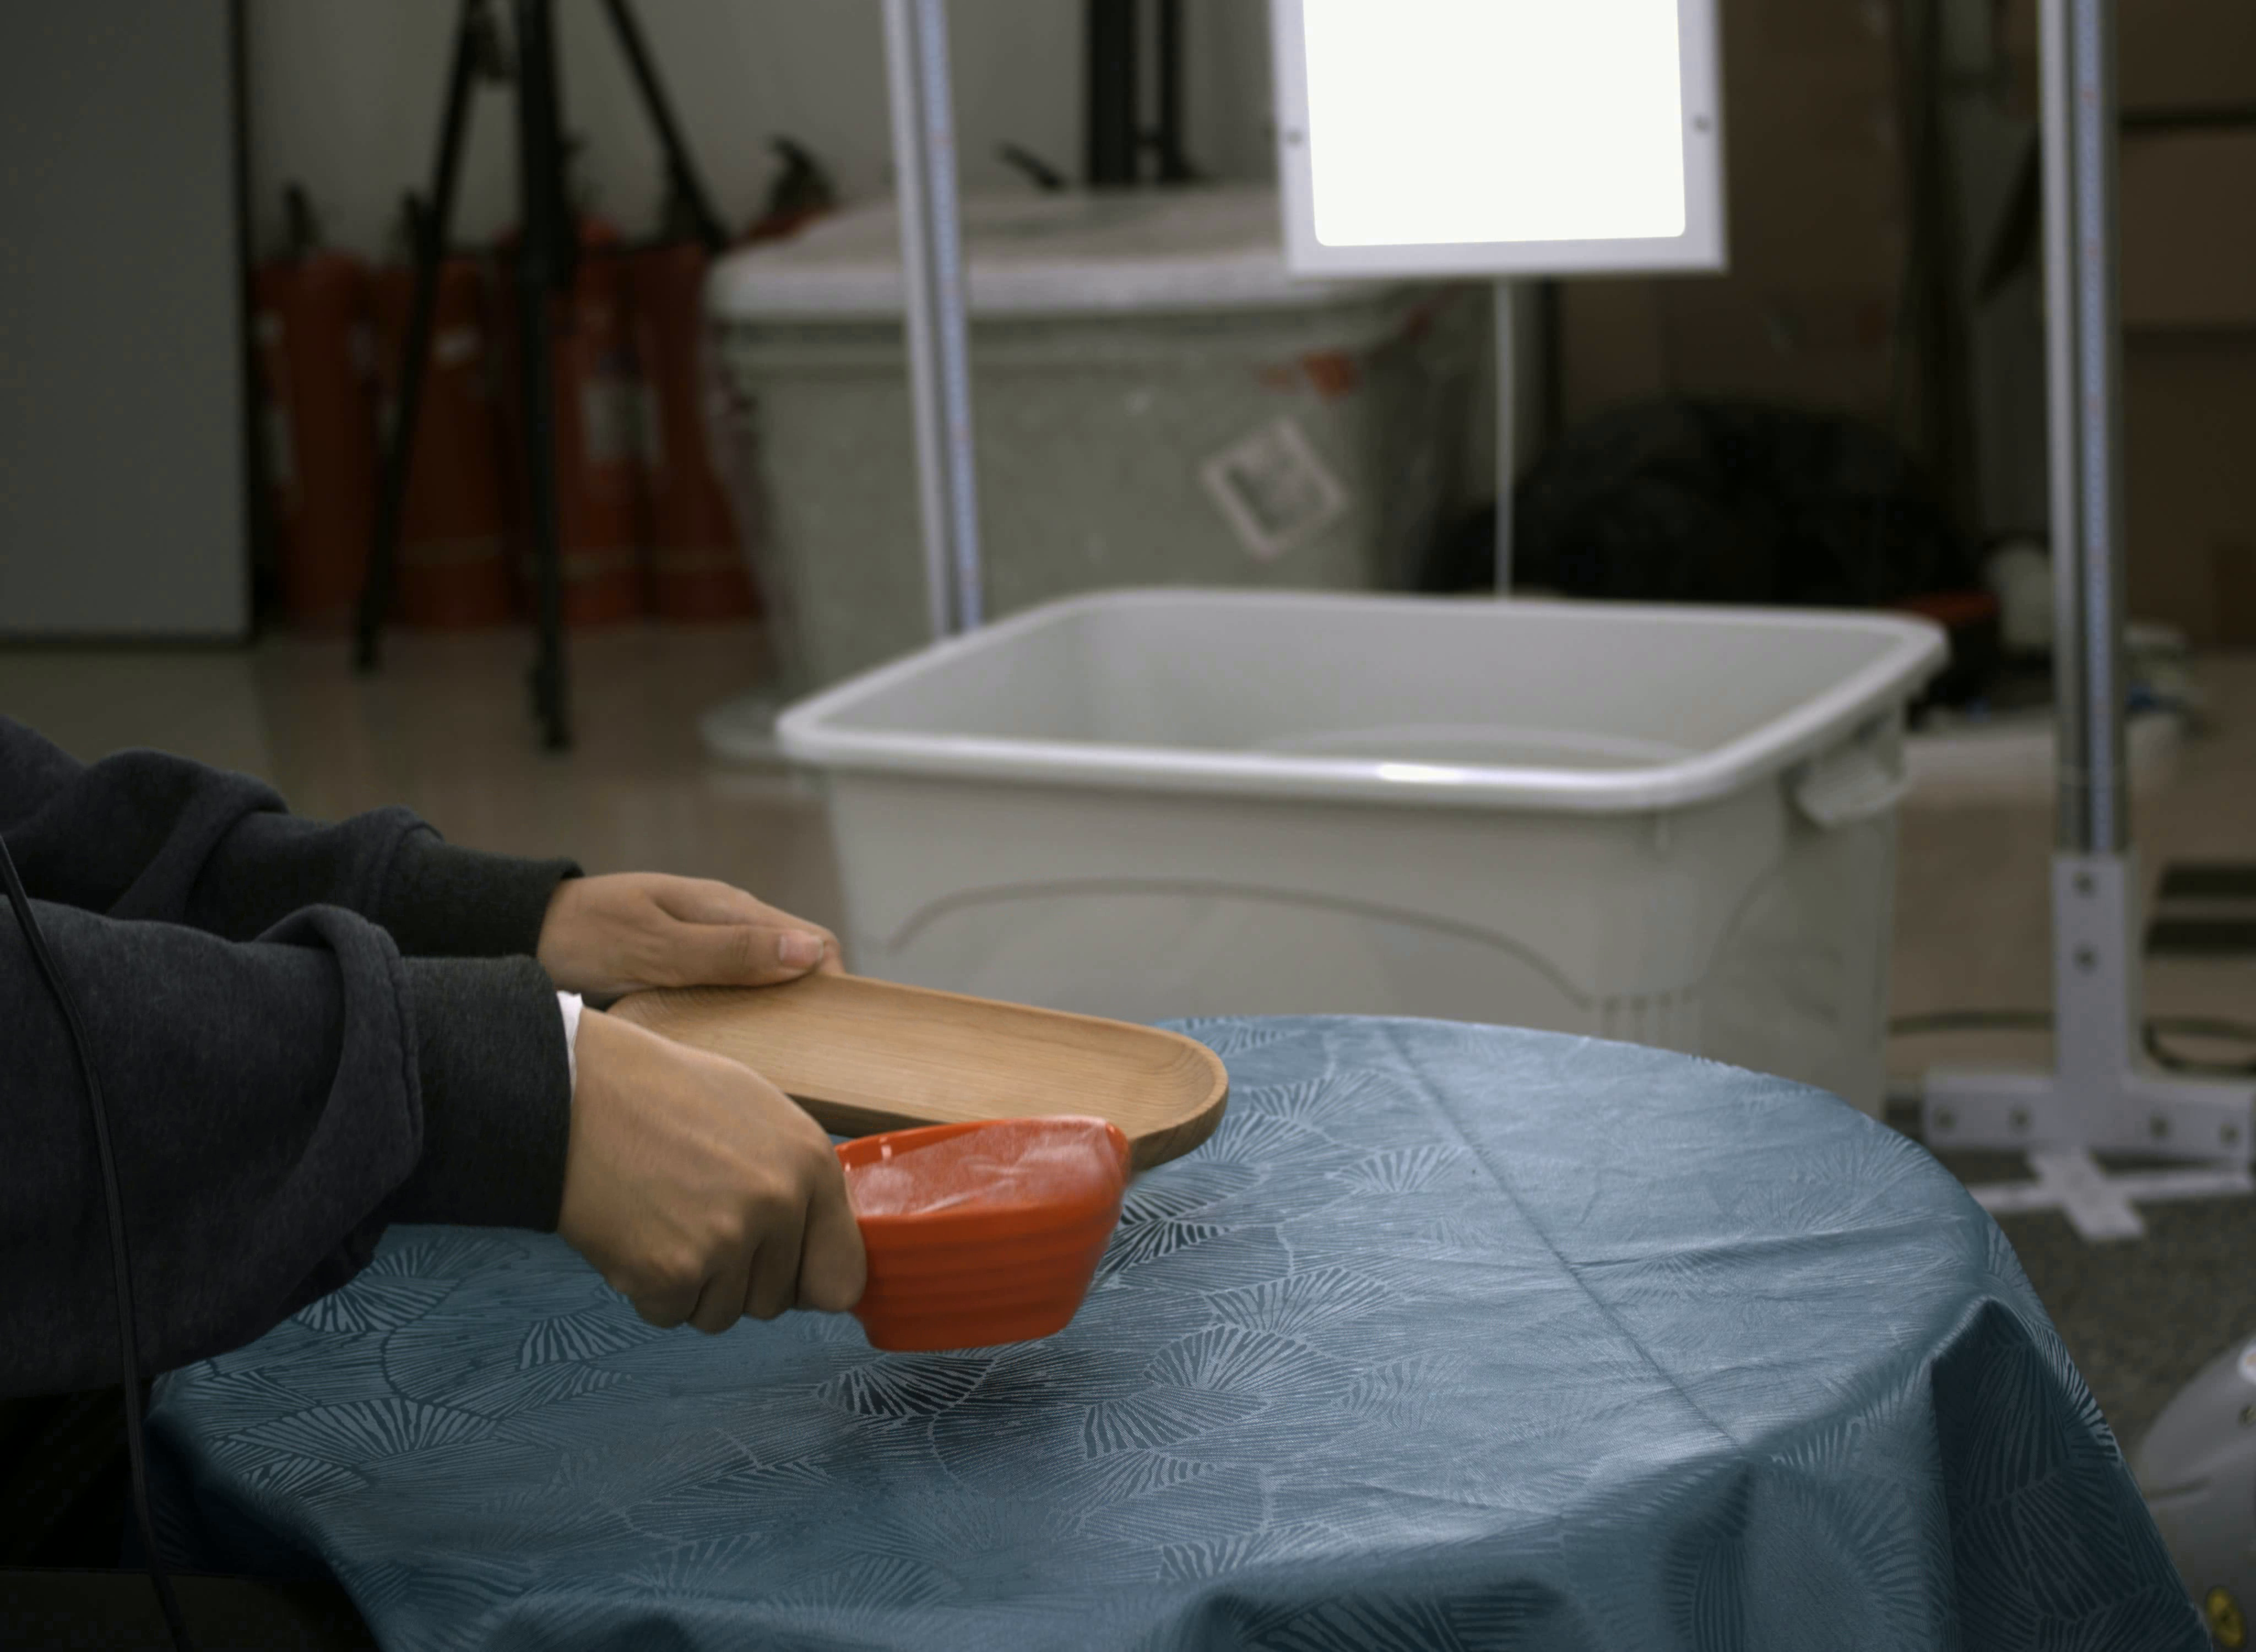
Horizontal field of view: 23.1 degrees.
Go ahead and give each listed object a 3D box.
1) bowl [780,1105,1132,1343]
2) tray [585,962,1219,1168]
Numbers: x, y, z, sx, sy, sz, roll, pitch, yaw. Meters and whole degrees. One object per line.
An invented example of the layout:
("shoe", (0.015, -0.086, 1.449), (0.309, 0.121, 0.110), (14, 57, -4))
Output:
("bowl", (-0.051, 0.126, 1.714), (0.118, 0.051, 0.119), (-6, 12, 0))
("tray", (-0.078, 0.082, 1.886), (0.235, 0.020, 0.099), (7, 22, 26))
